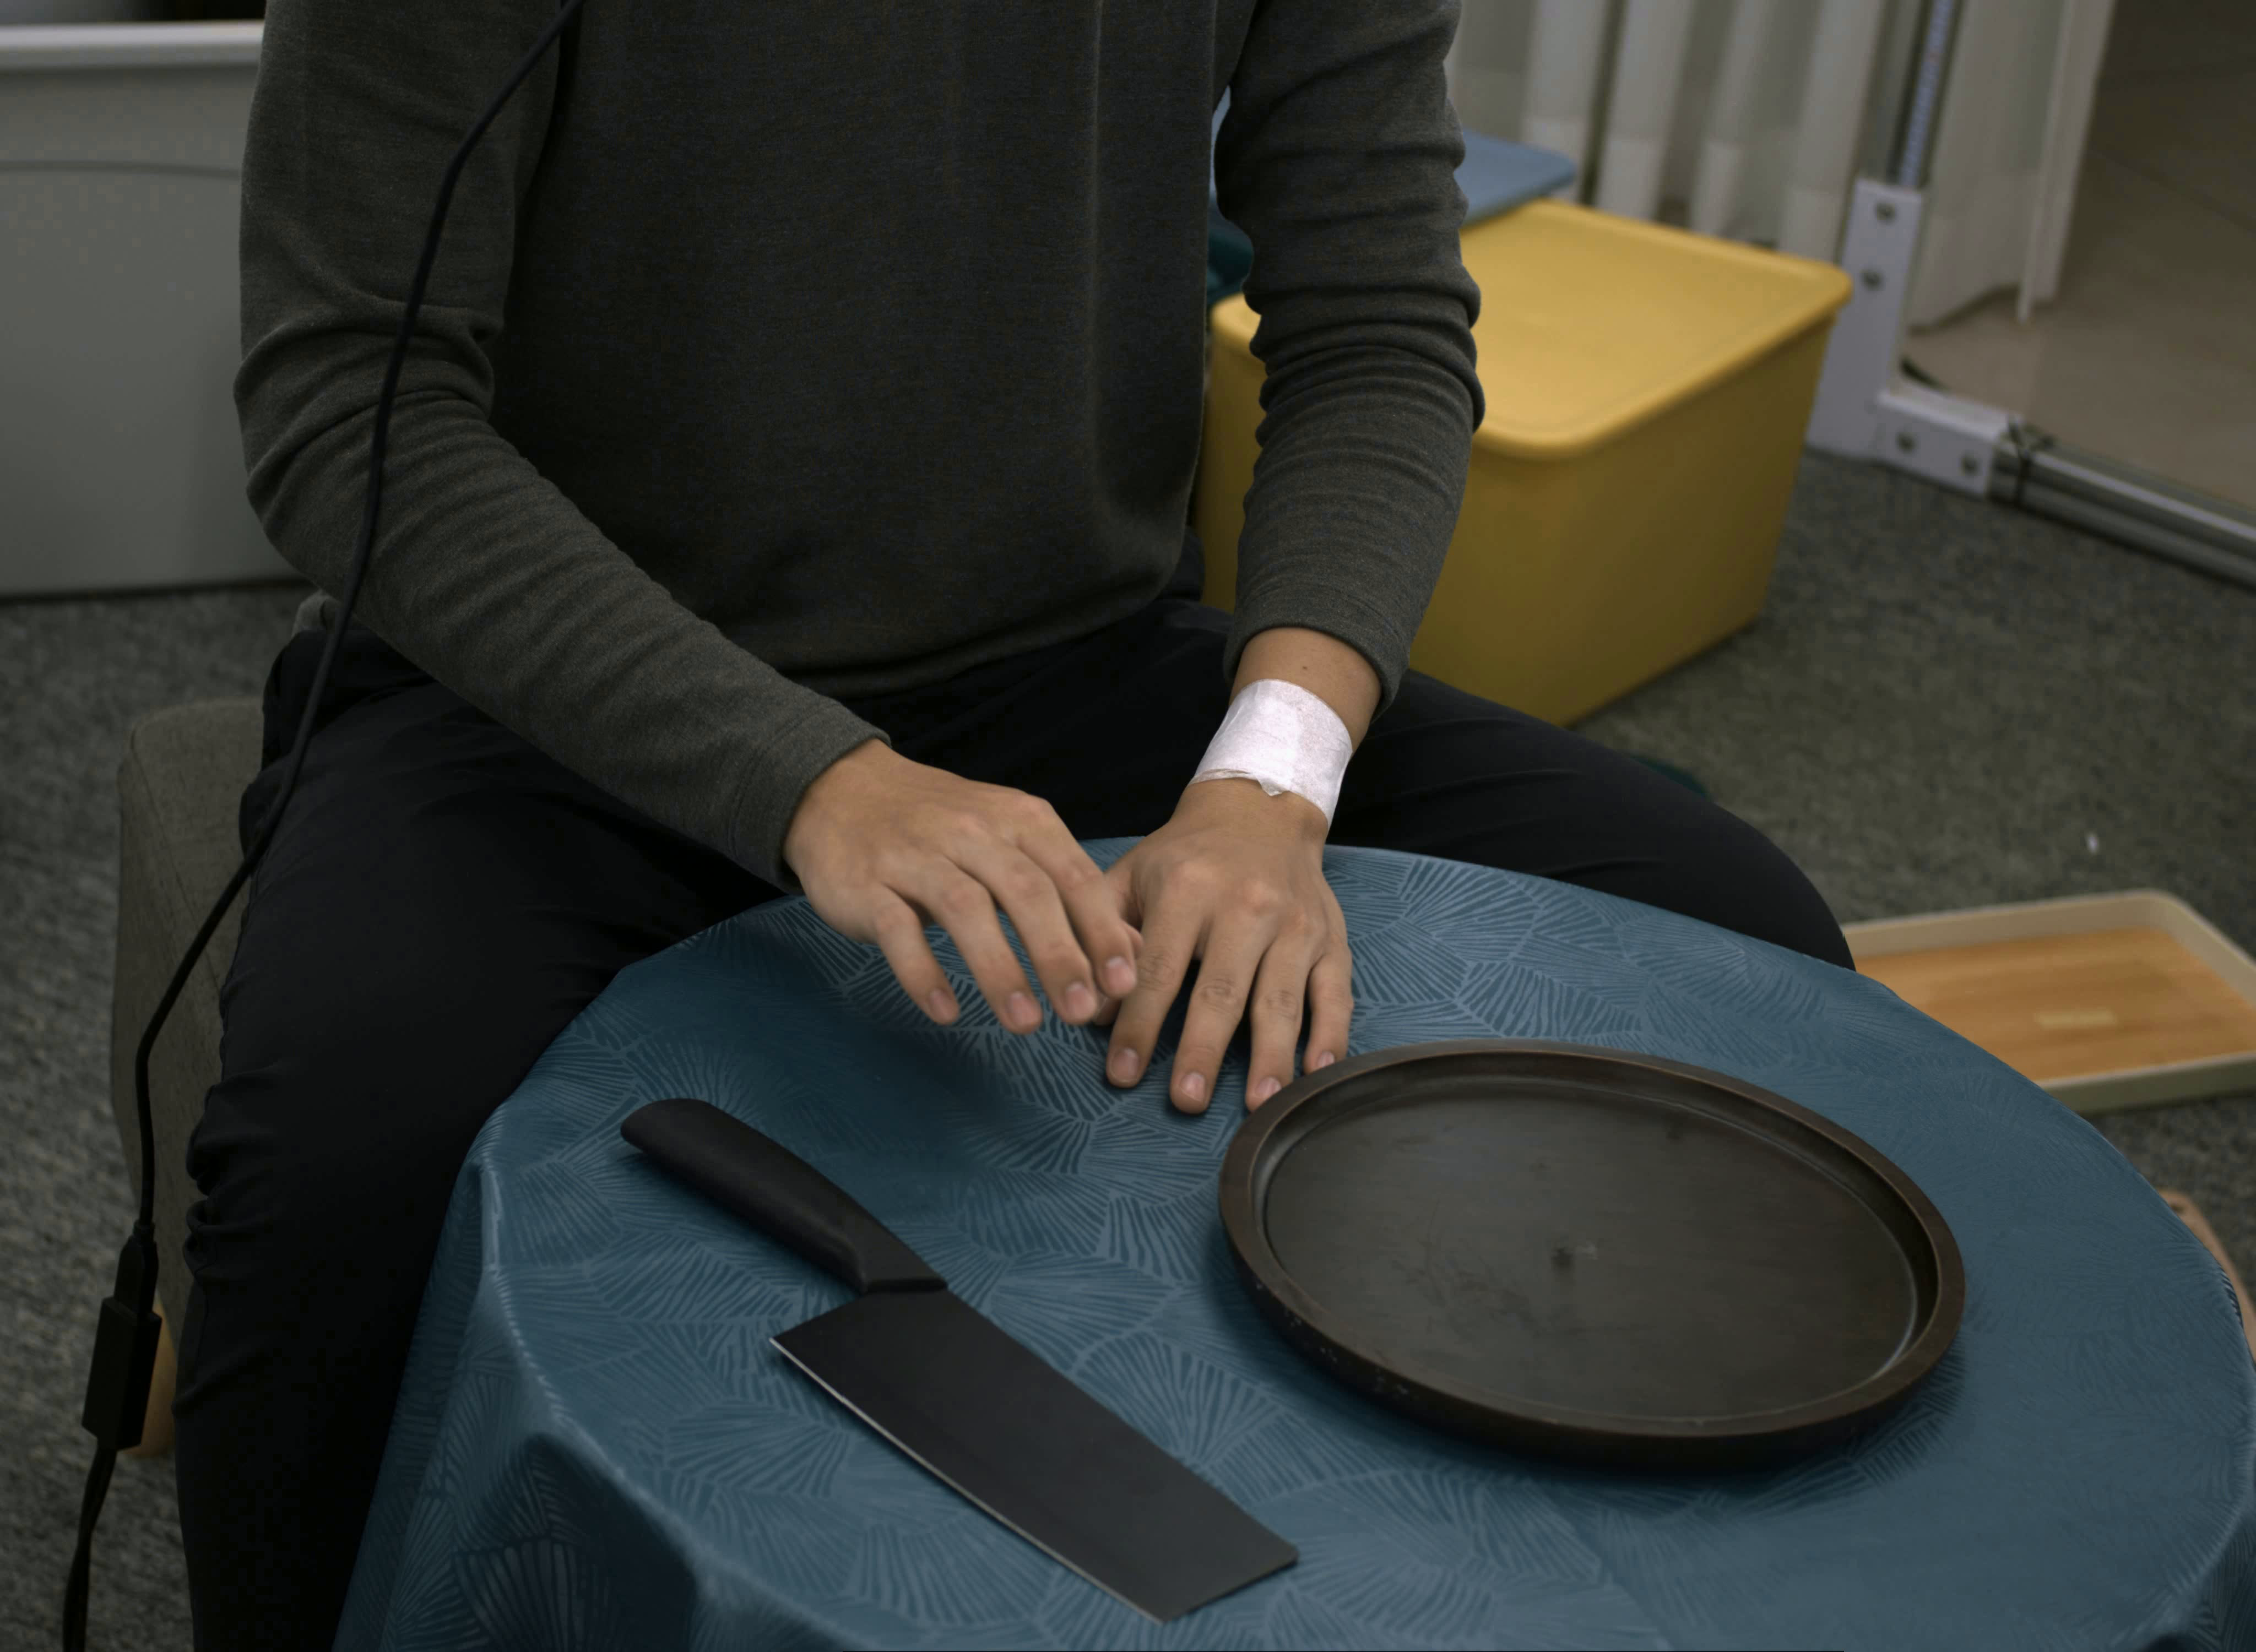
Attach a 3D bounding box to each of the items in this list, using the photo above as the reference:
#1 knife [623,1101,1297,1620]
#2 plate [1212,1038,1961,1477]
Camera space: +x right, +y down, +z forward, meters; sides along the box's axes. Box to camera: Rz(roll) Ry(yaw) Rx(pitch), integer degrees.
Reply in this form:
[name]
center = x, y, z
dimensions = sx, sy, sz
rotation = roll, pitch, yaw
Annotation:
[knife]
center = -0.067, 0.166, 1.693
dimensions = 0.080, 0.021, 0.305
rotation = -16, 36, -35
[plate]
center = 0.152, 0.142, 1.780
dimensions = 0.254, 0.029, 0.256
rotation = 4, 28, -3
